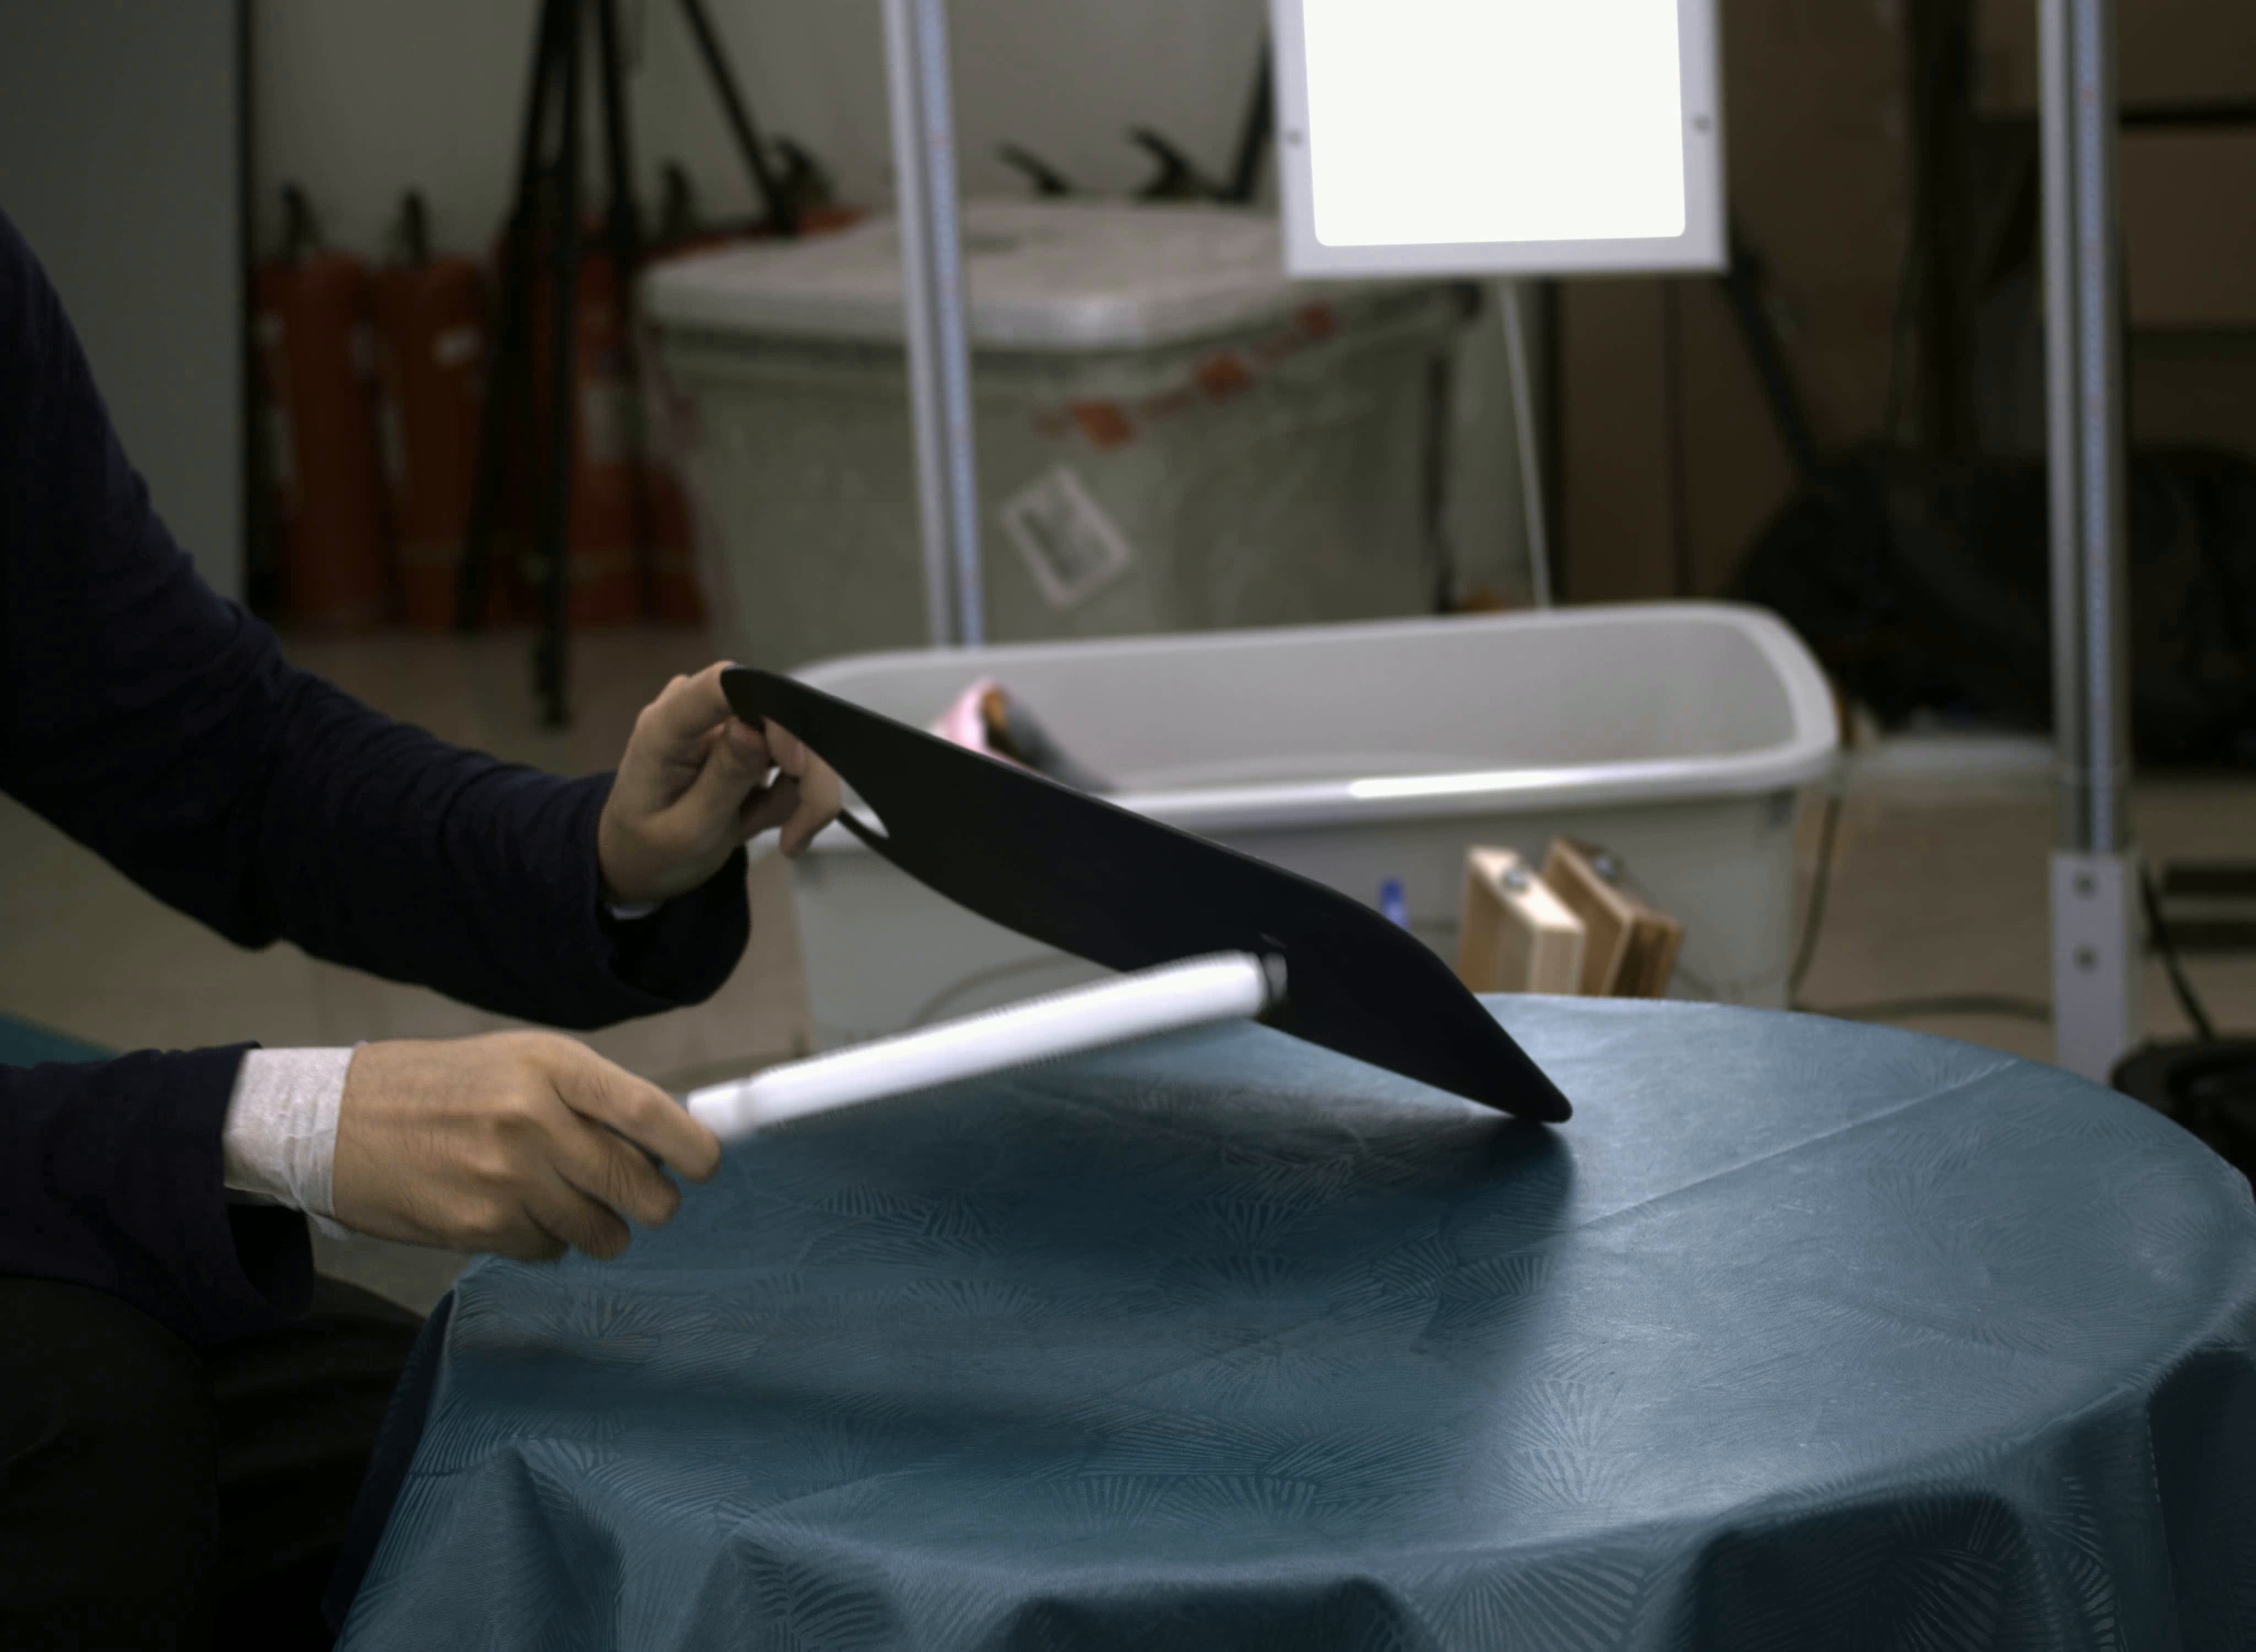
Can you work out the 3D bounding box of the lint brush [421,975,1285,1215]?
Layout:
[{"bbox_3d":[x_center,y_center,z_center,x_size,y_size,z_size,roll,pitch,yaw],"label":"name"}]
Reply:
[{"bbox_3d":[-0.092,0.086,1.735,0.314,0.021,0.059,-14,-7,27],"label":"lint brush"}]

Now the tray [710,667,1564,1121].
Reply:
[{"bbox_3d":[-0.004,0.020,1.937,0.331,0.010,0.208,20,-16,34],"label":"tray"}]
